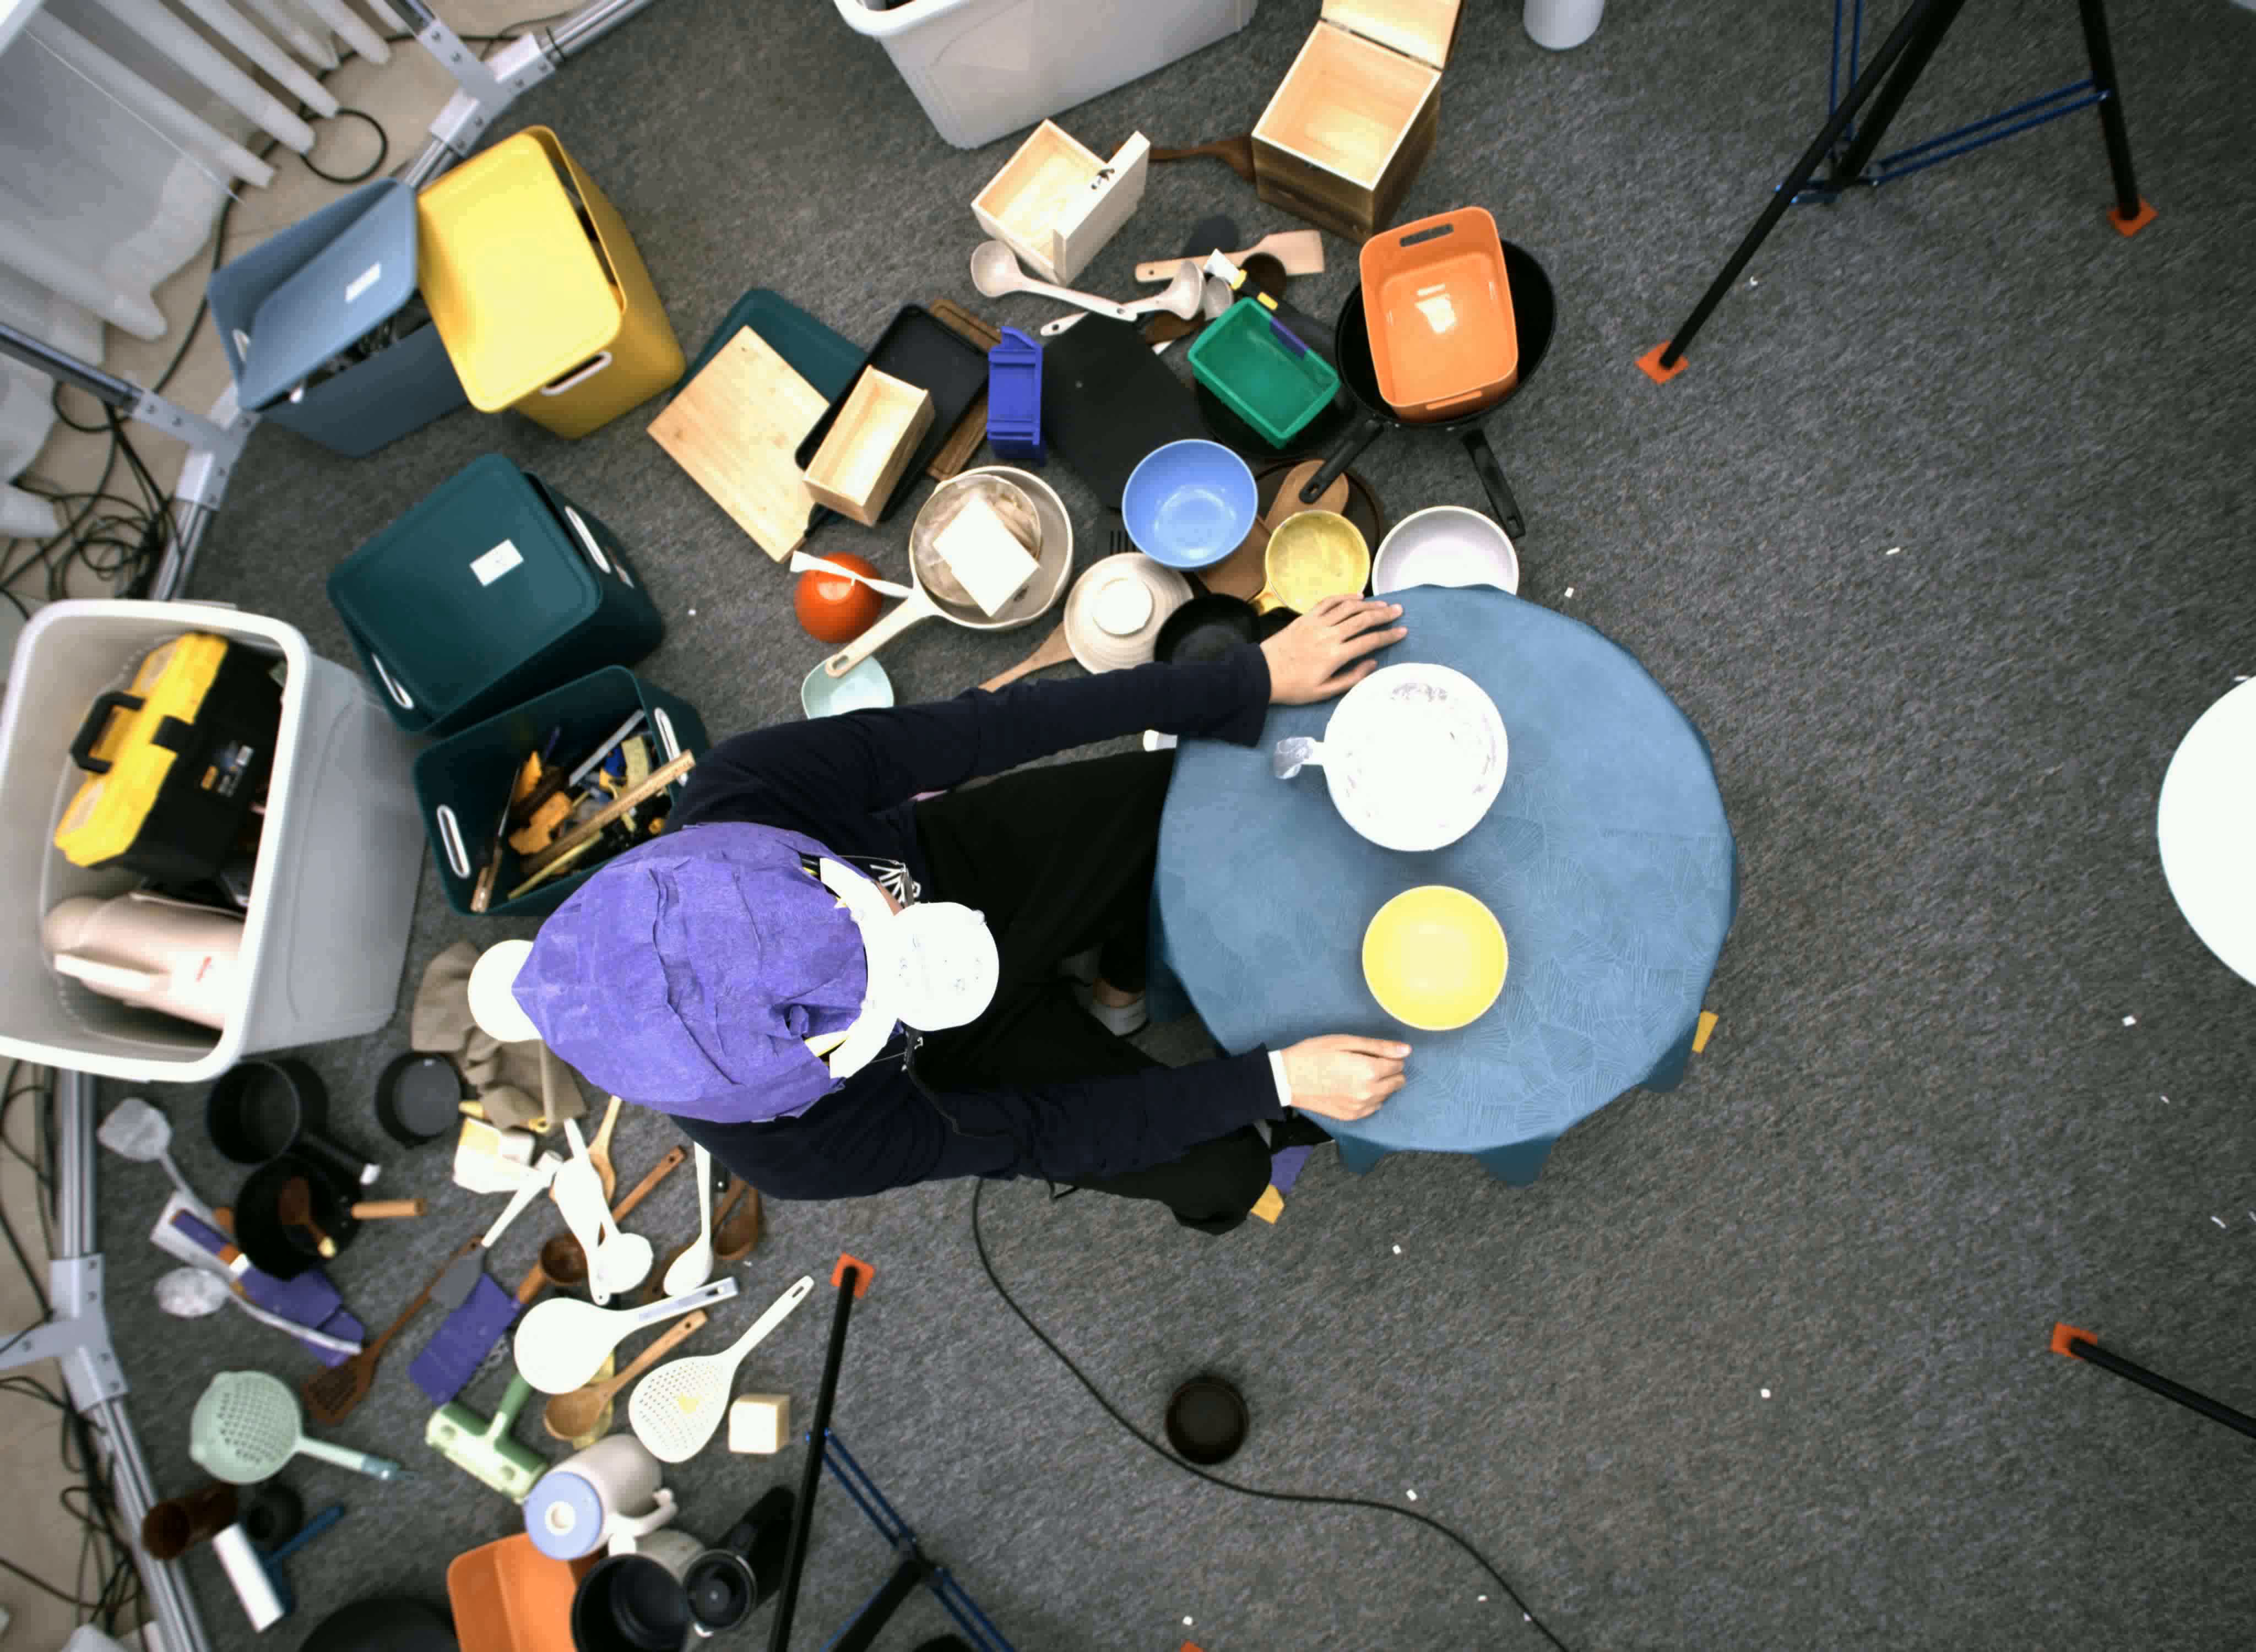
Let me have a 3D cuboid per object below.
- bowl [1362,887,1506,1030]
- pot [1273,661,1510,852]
[{"bbox_3d":[0.313,0.135,1.417,0.146,0.060,0.144,-1,85,10],"label":"bowl"},{"bbox_3d":[0.262,-0.067,1.399,0.234,0.137,0.177,2,83,10],"label":"pot"}]
